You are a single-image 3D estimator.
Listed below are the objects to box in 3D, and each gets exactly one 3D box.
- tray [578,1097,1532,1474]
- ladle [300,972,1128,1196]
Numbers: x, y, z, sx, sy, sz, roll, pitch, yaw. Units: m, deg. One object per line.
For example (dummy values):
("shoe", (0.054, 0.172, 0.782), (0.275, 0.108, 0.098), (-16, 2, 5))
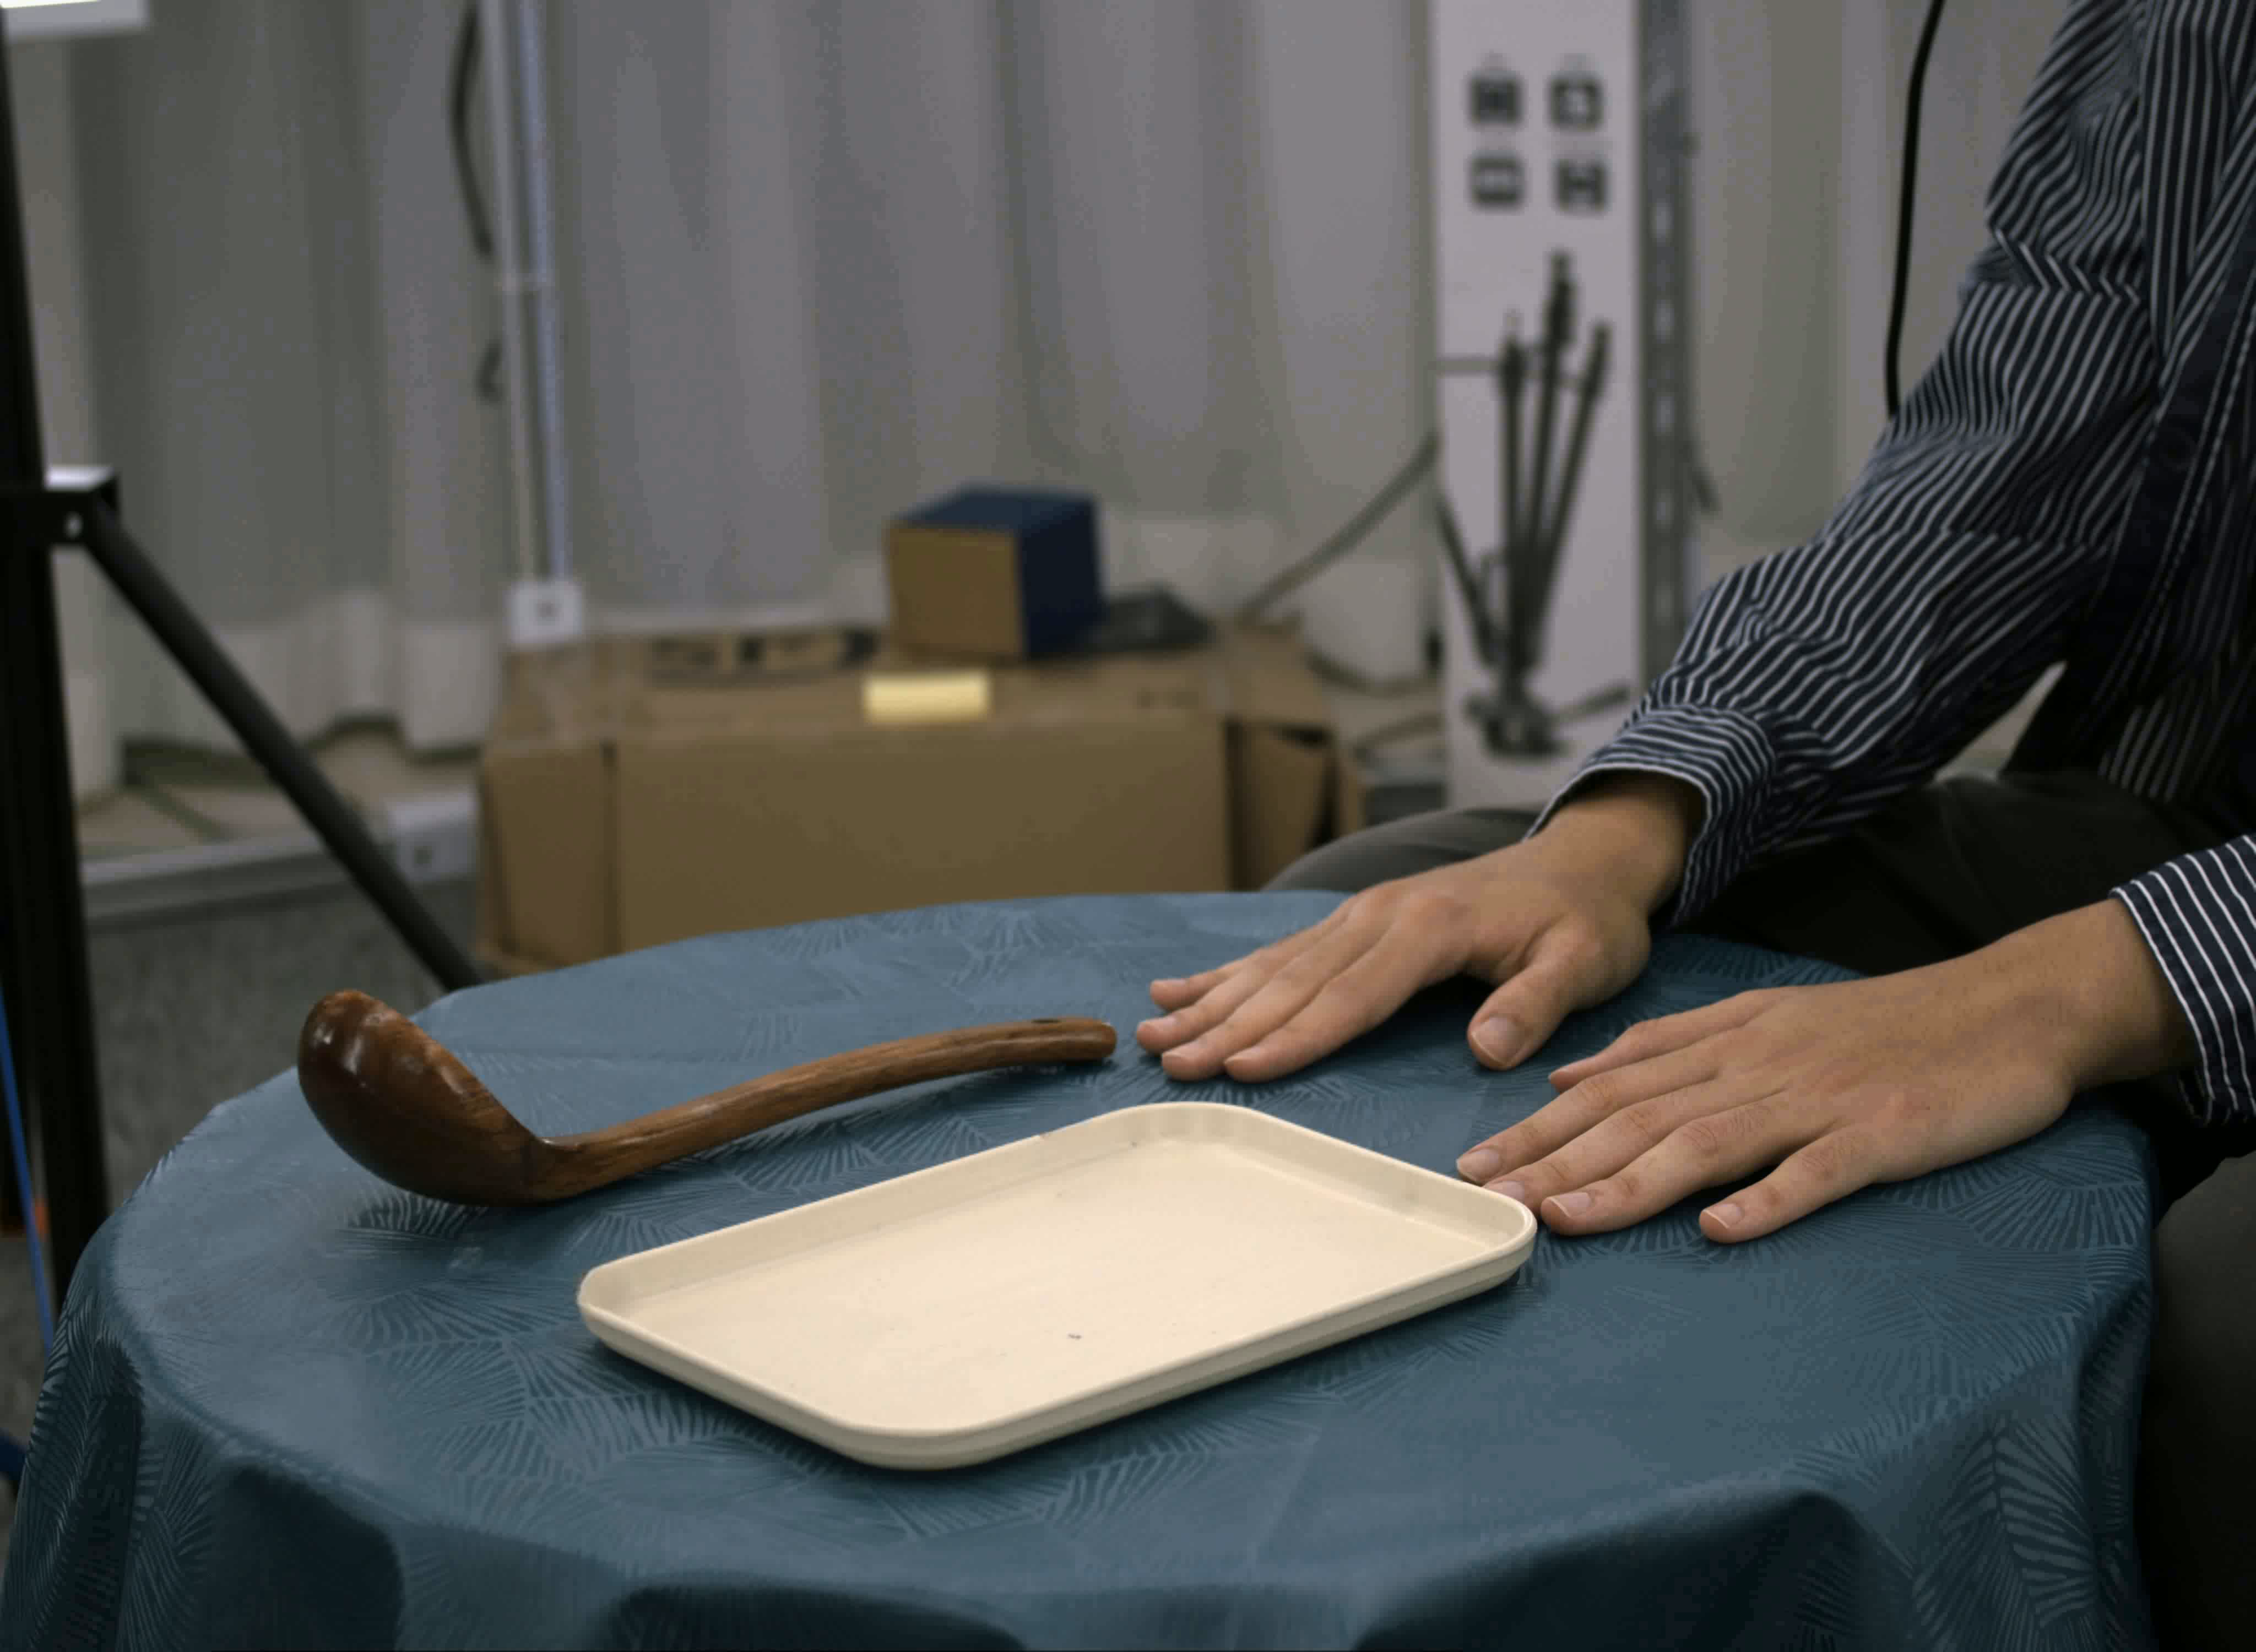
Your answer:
("tray", (-0.018, 0.126, 1.472), (0.234, 0.017, 0.175), (-14, 20, -36))
("ladle", (-0.121, 0.058, 1.614), (0.268, 0.076, 0.083), (-12, 14, -30))
